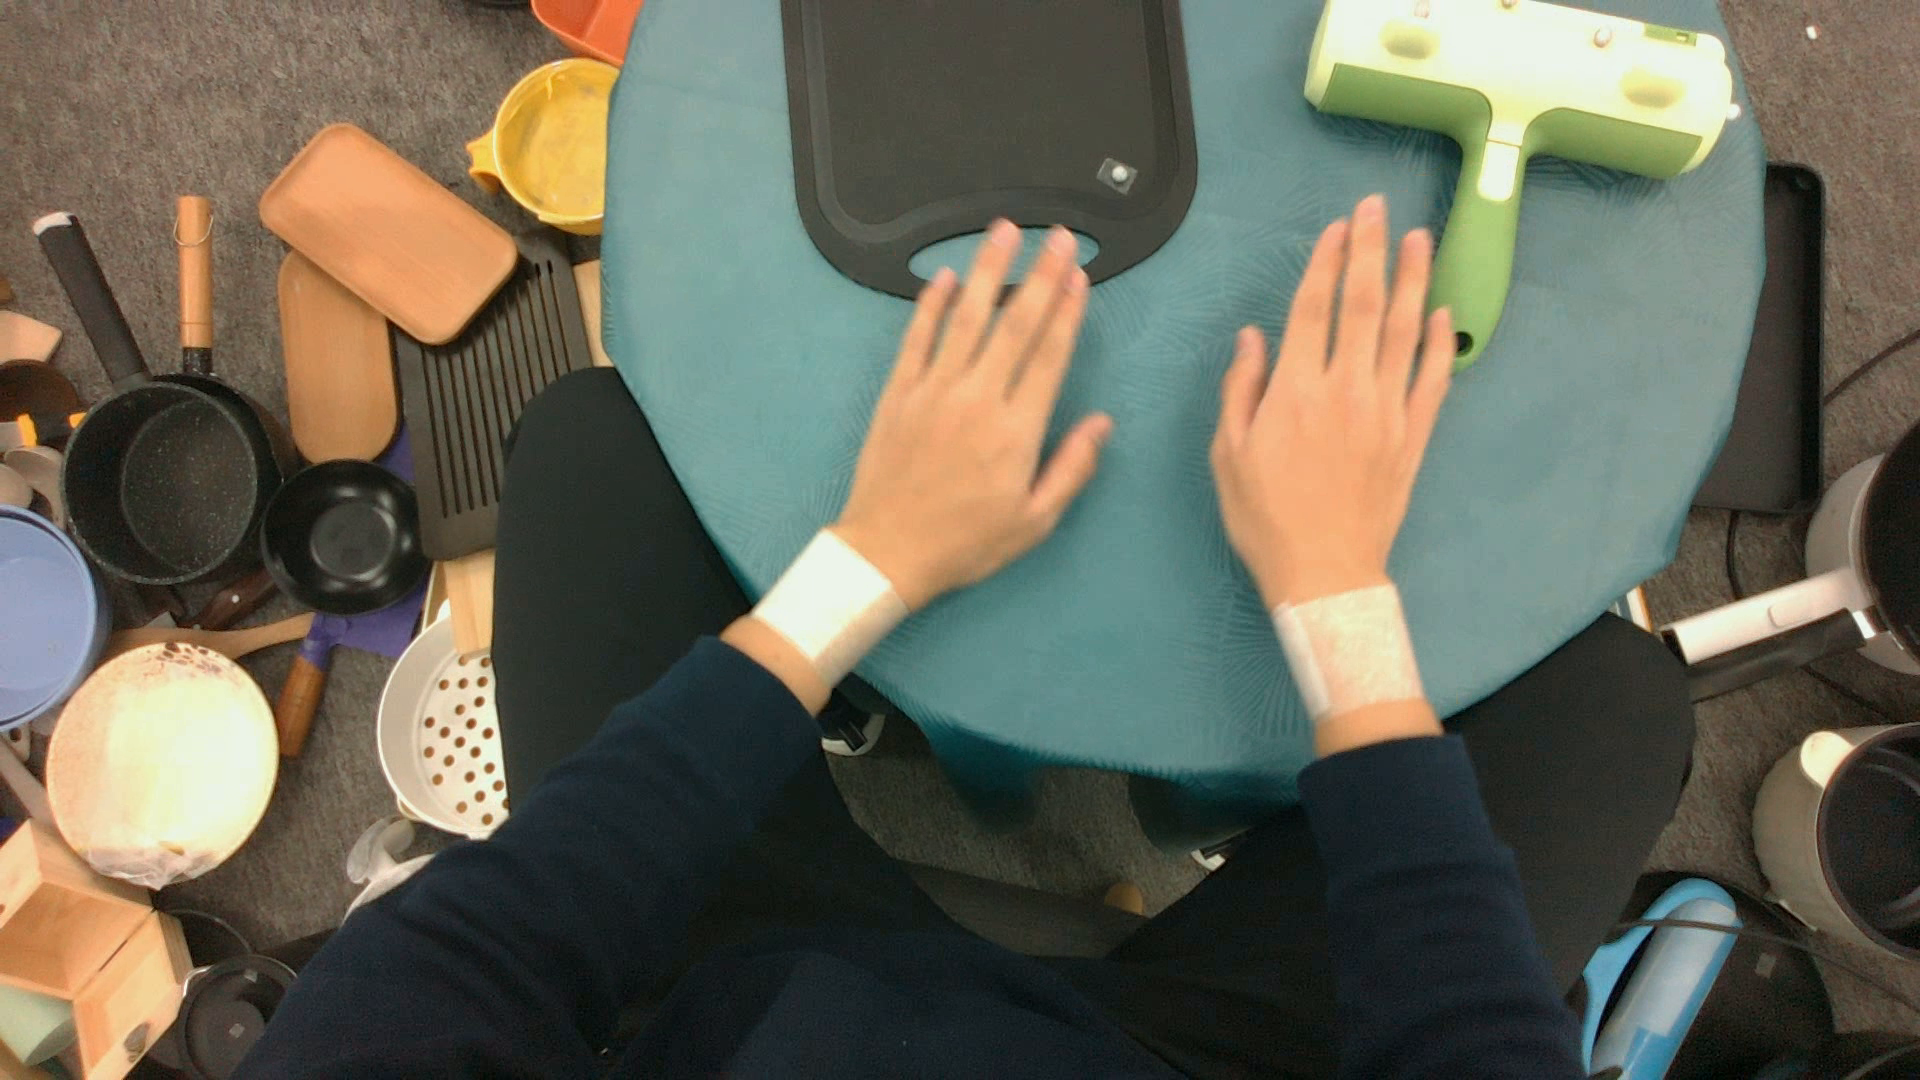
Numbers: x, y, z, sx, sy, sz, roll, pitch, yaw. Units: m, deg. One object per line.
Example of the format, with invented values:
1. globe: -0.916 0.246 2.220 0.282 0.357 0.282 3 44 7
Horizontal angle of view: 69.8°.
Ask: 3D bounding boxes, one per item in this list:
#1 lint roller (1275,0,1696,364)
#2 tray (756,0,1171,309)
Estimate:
1. lint roller: 0.251 -0.182 0.672 0.198 0.082 0.184 10 75 4
2. tray: -0.004 -0.281 0.732 0.211 0.010 0.326 -6 81 0
